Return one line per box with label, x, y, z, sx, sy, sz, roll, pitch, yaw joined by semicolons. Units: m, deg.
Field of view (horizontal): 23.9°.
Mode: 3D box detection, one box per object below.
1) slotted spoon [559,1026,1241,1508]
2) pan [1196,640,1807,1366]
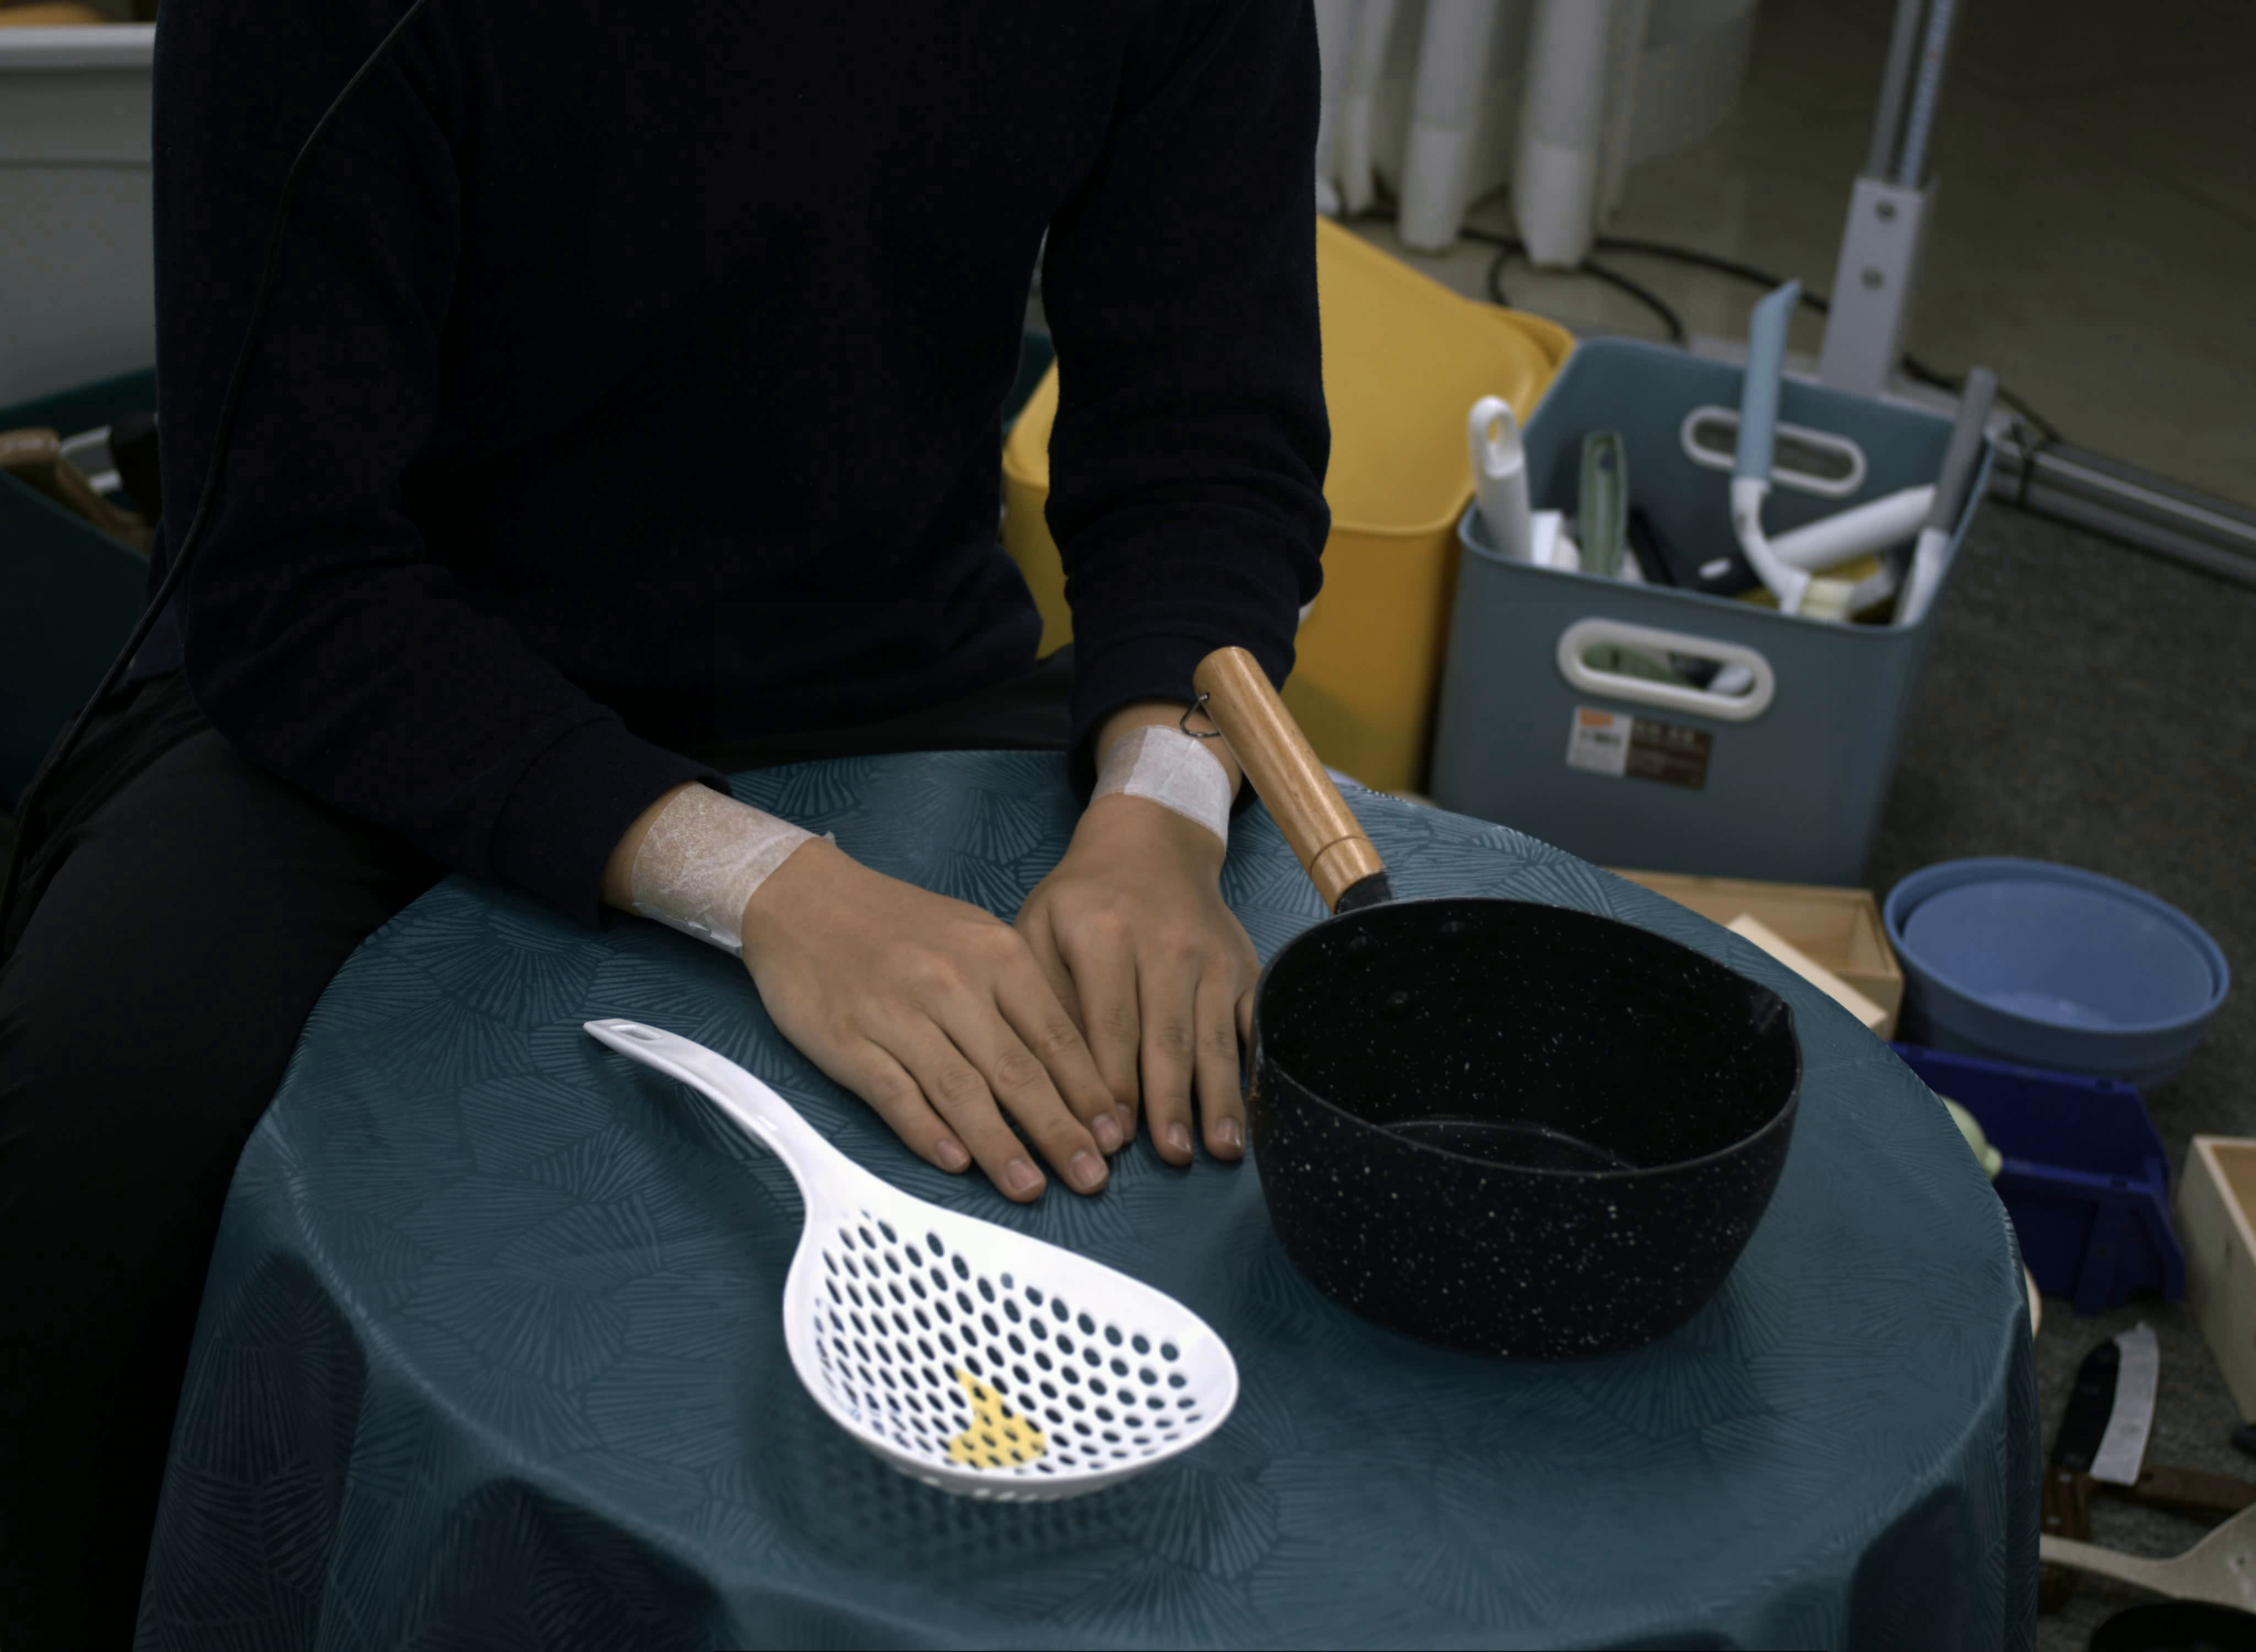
slotted spoon;-0.094;0.130;1.722;0.136;0.050;0.351;-11;34;-30
pan;0.096;0.058;1.835;0.206;0.108;0.346;-8;31;-24
